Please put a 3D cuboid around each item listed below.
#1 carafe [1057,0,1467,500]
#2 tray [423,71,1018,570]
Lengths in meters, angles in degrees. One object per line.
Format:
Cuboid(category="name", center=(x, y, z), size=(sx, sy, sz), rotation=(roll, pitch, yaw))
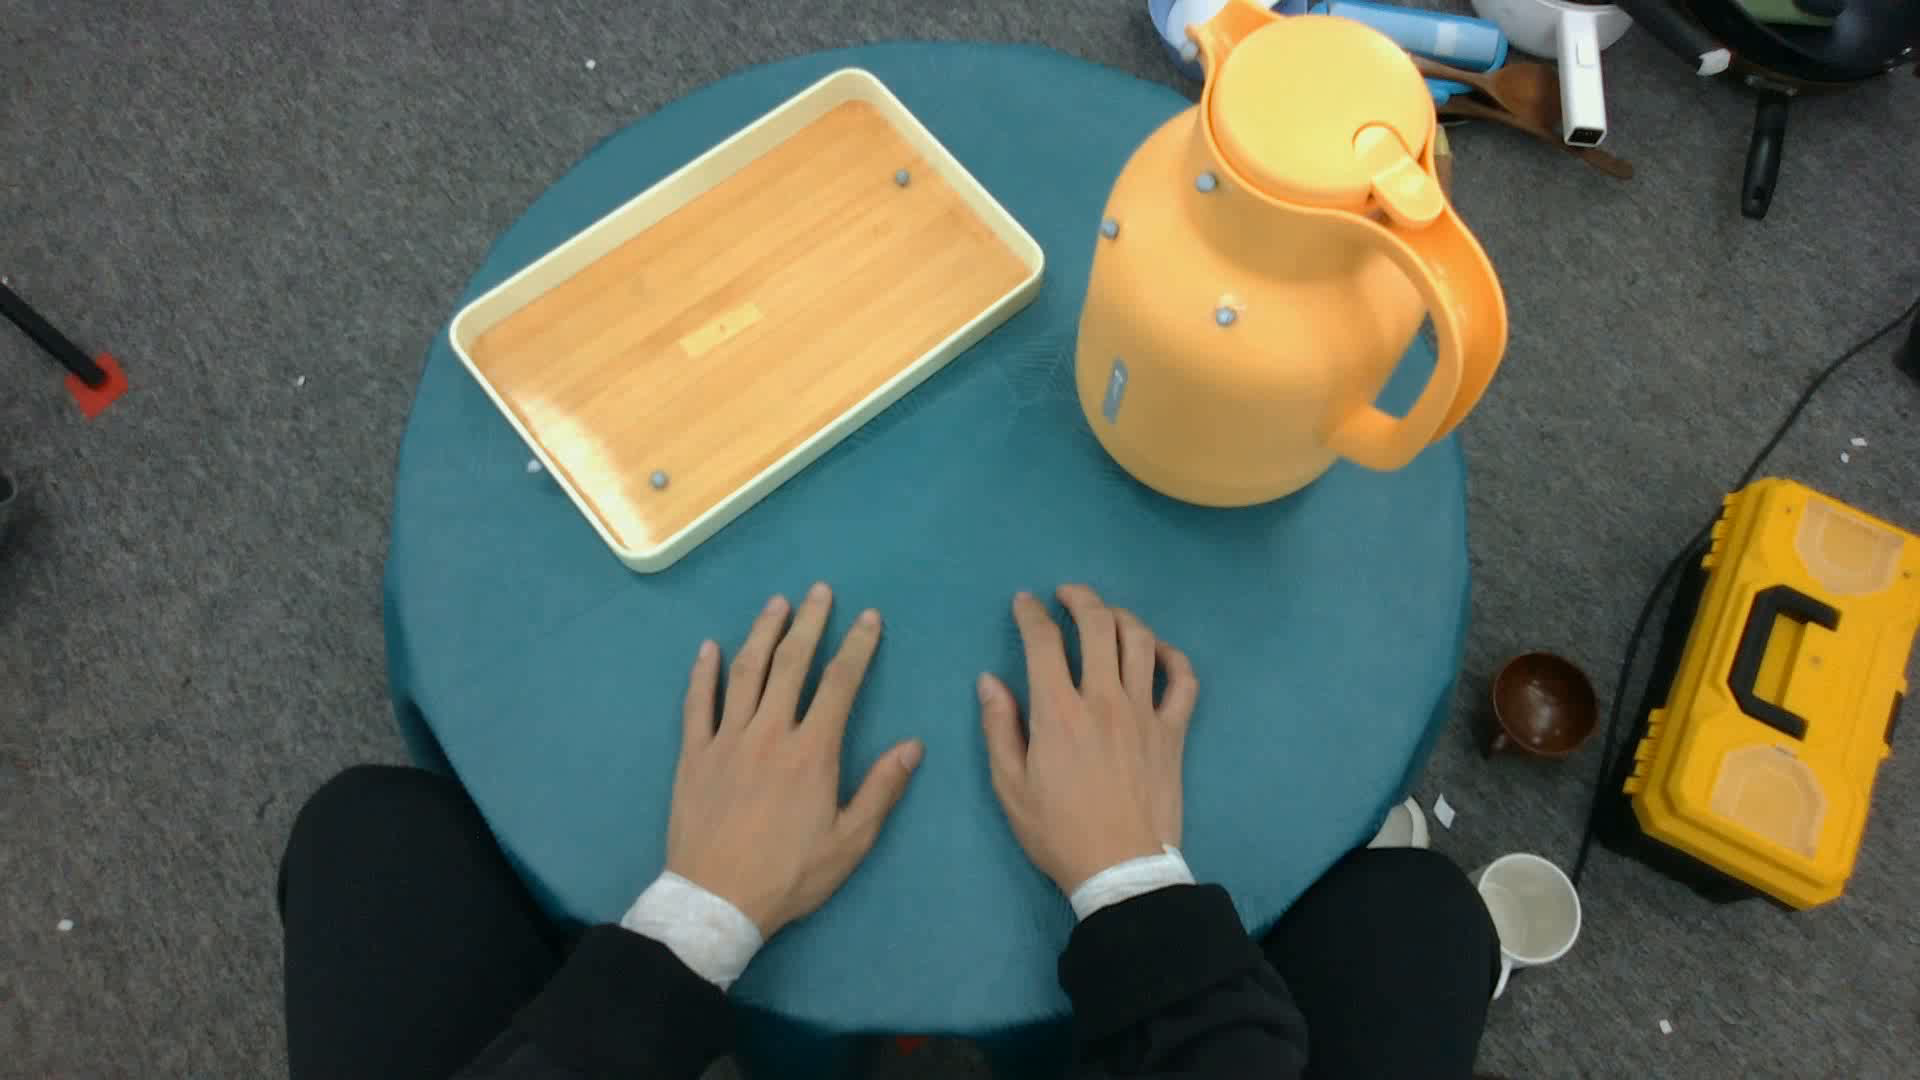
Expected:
Cuboid(category="carafe", center=(0.144, -0.120, 0.673), size=(0.164, 0.259, 0.202), rotation=(-32, 71, -11))
Cuboid(category="tray", center=(-0.133, -0.136, 0.796), size=(0.301, 0.027, 0.192), rotation=(-38, 73, -16))
